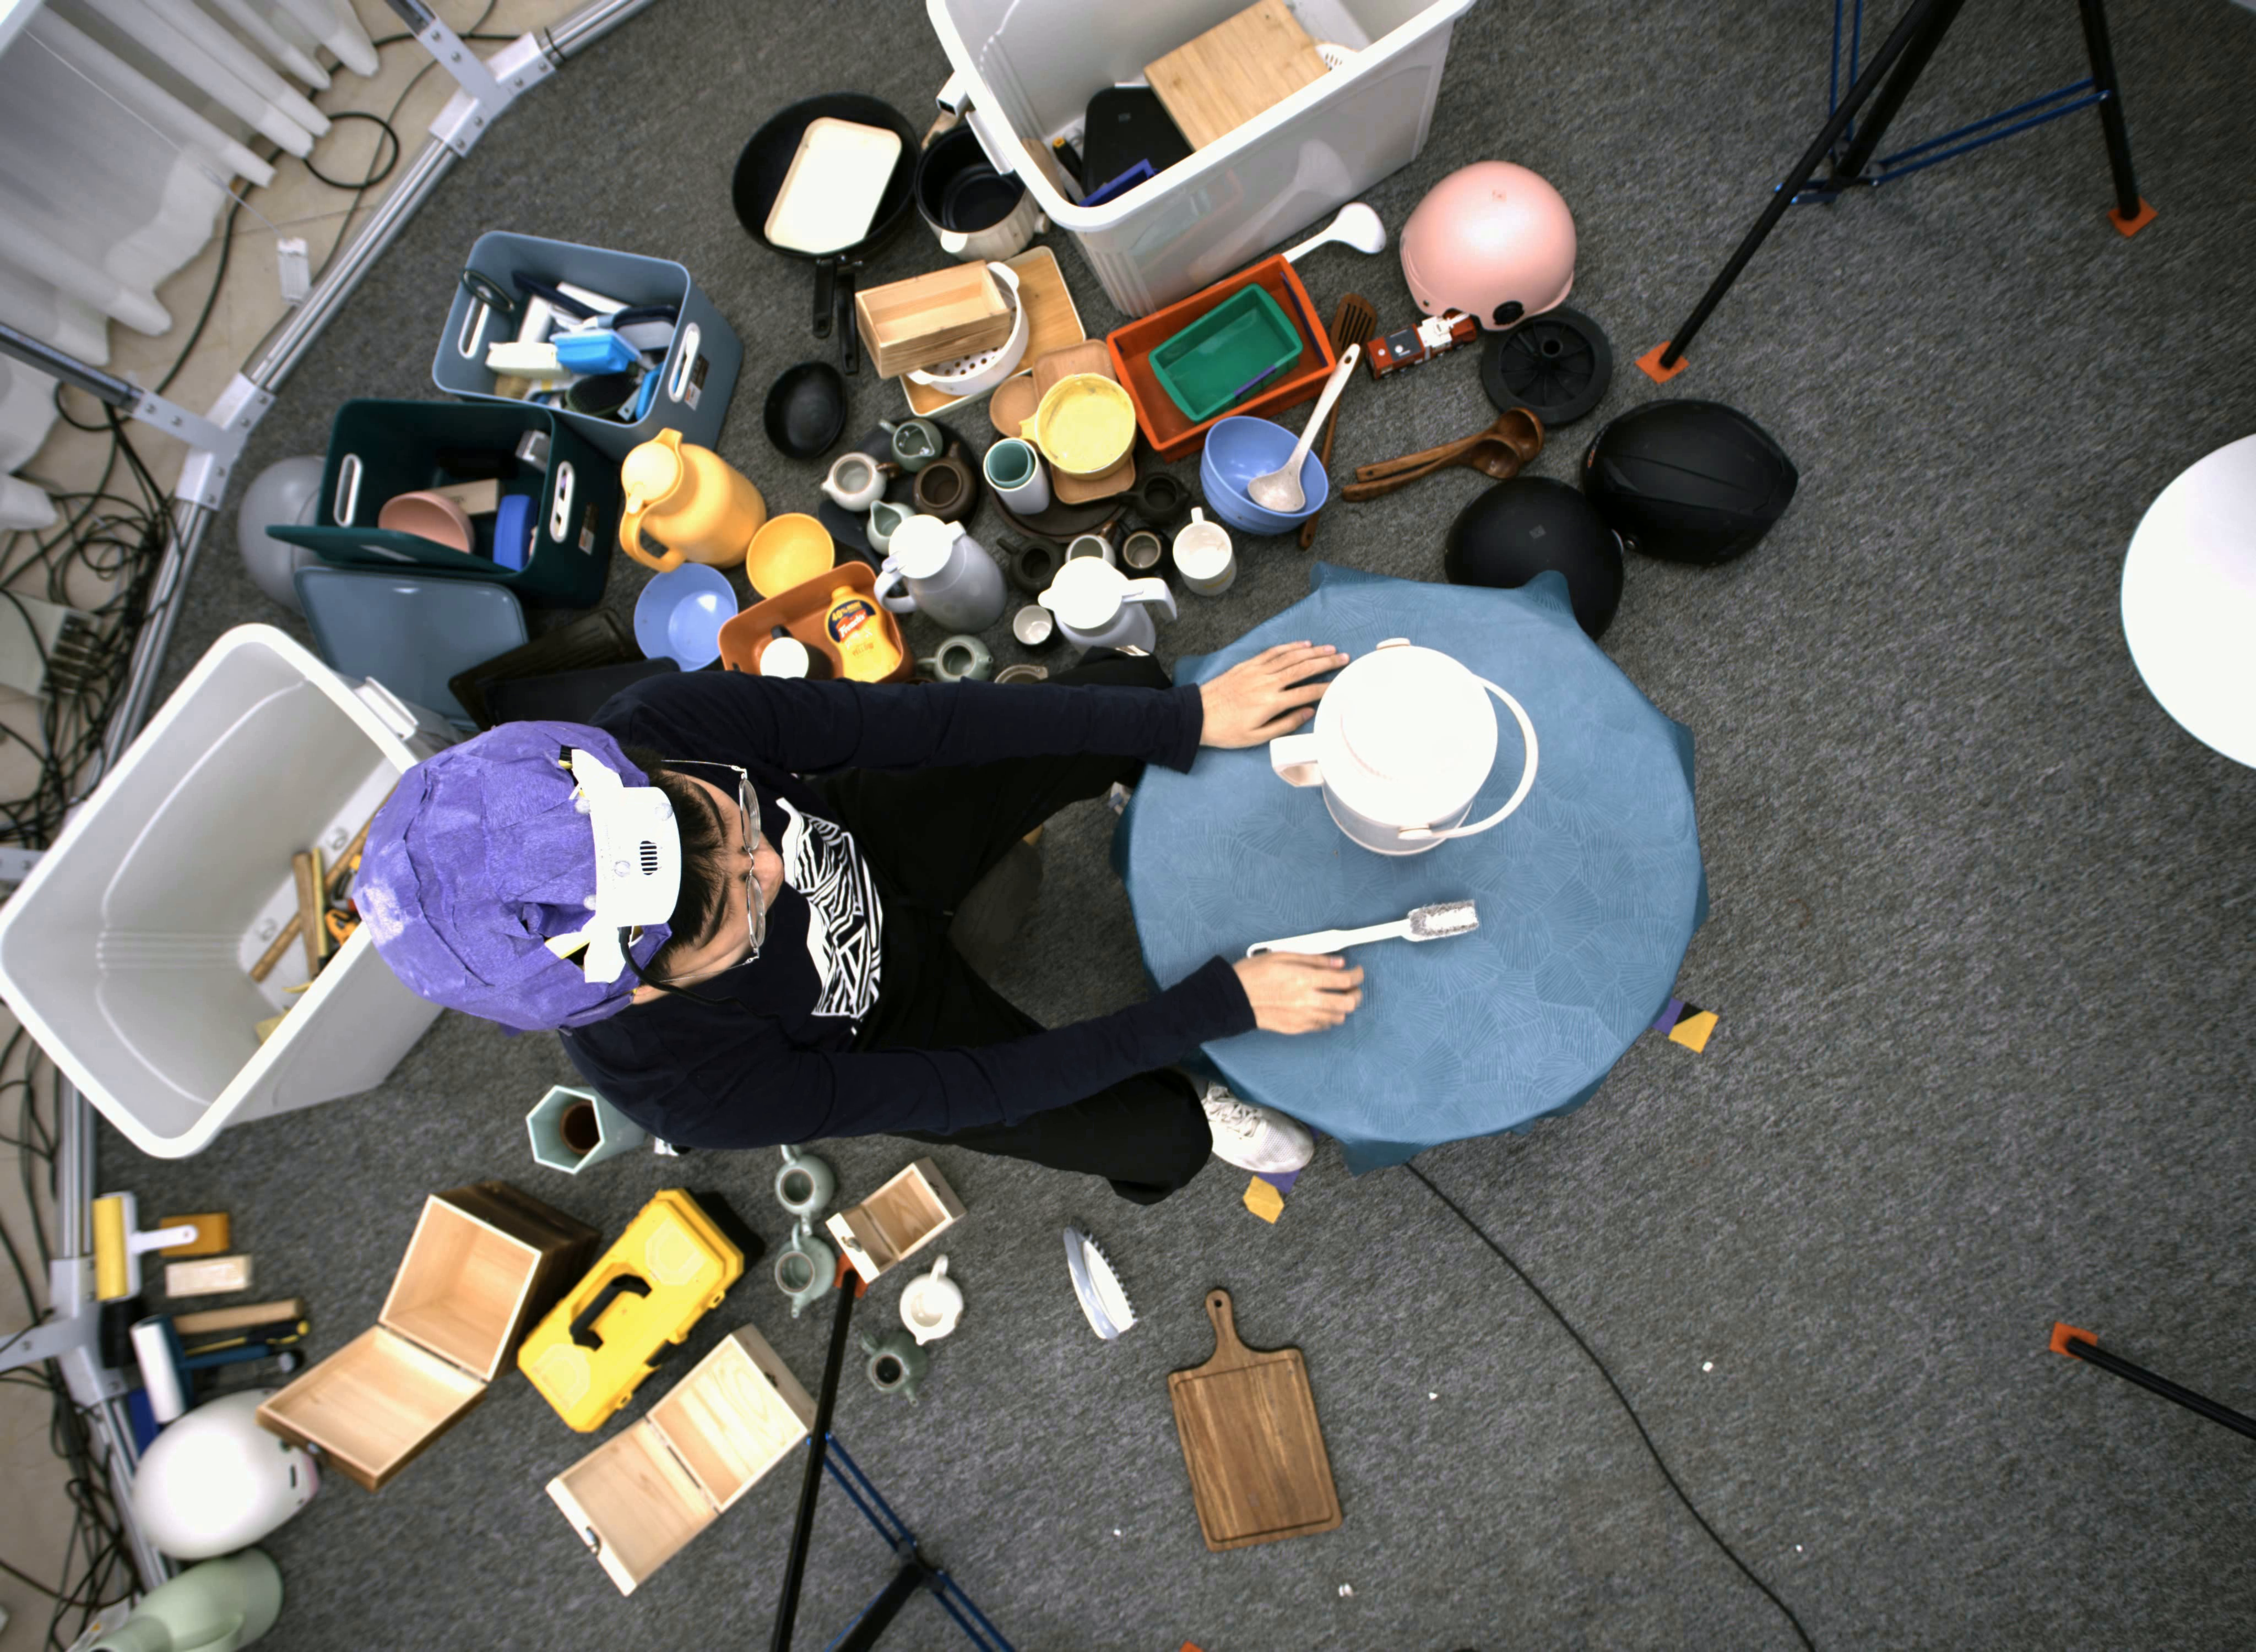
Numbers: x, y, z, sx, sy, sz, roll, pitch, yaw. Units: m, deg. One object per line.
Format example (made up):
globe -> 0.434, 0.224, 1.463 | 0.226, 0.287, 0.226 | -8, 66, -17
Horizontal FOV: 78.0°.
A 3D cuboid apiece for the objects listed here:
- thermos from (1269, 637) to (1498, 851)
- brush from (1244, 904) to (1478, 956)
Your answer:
thermos -> 0.239, -0.070, 1.271 | 0.208, 0.406, 0.174 | -7, 85, 10
brush -> 0.240, 0.109, 1.438 | 0.245, 0.050, 0.034 | -8, 88, 10
